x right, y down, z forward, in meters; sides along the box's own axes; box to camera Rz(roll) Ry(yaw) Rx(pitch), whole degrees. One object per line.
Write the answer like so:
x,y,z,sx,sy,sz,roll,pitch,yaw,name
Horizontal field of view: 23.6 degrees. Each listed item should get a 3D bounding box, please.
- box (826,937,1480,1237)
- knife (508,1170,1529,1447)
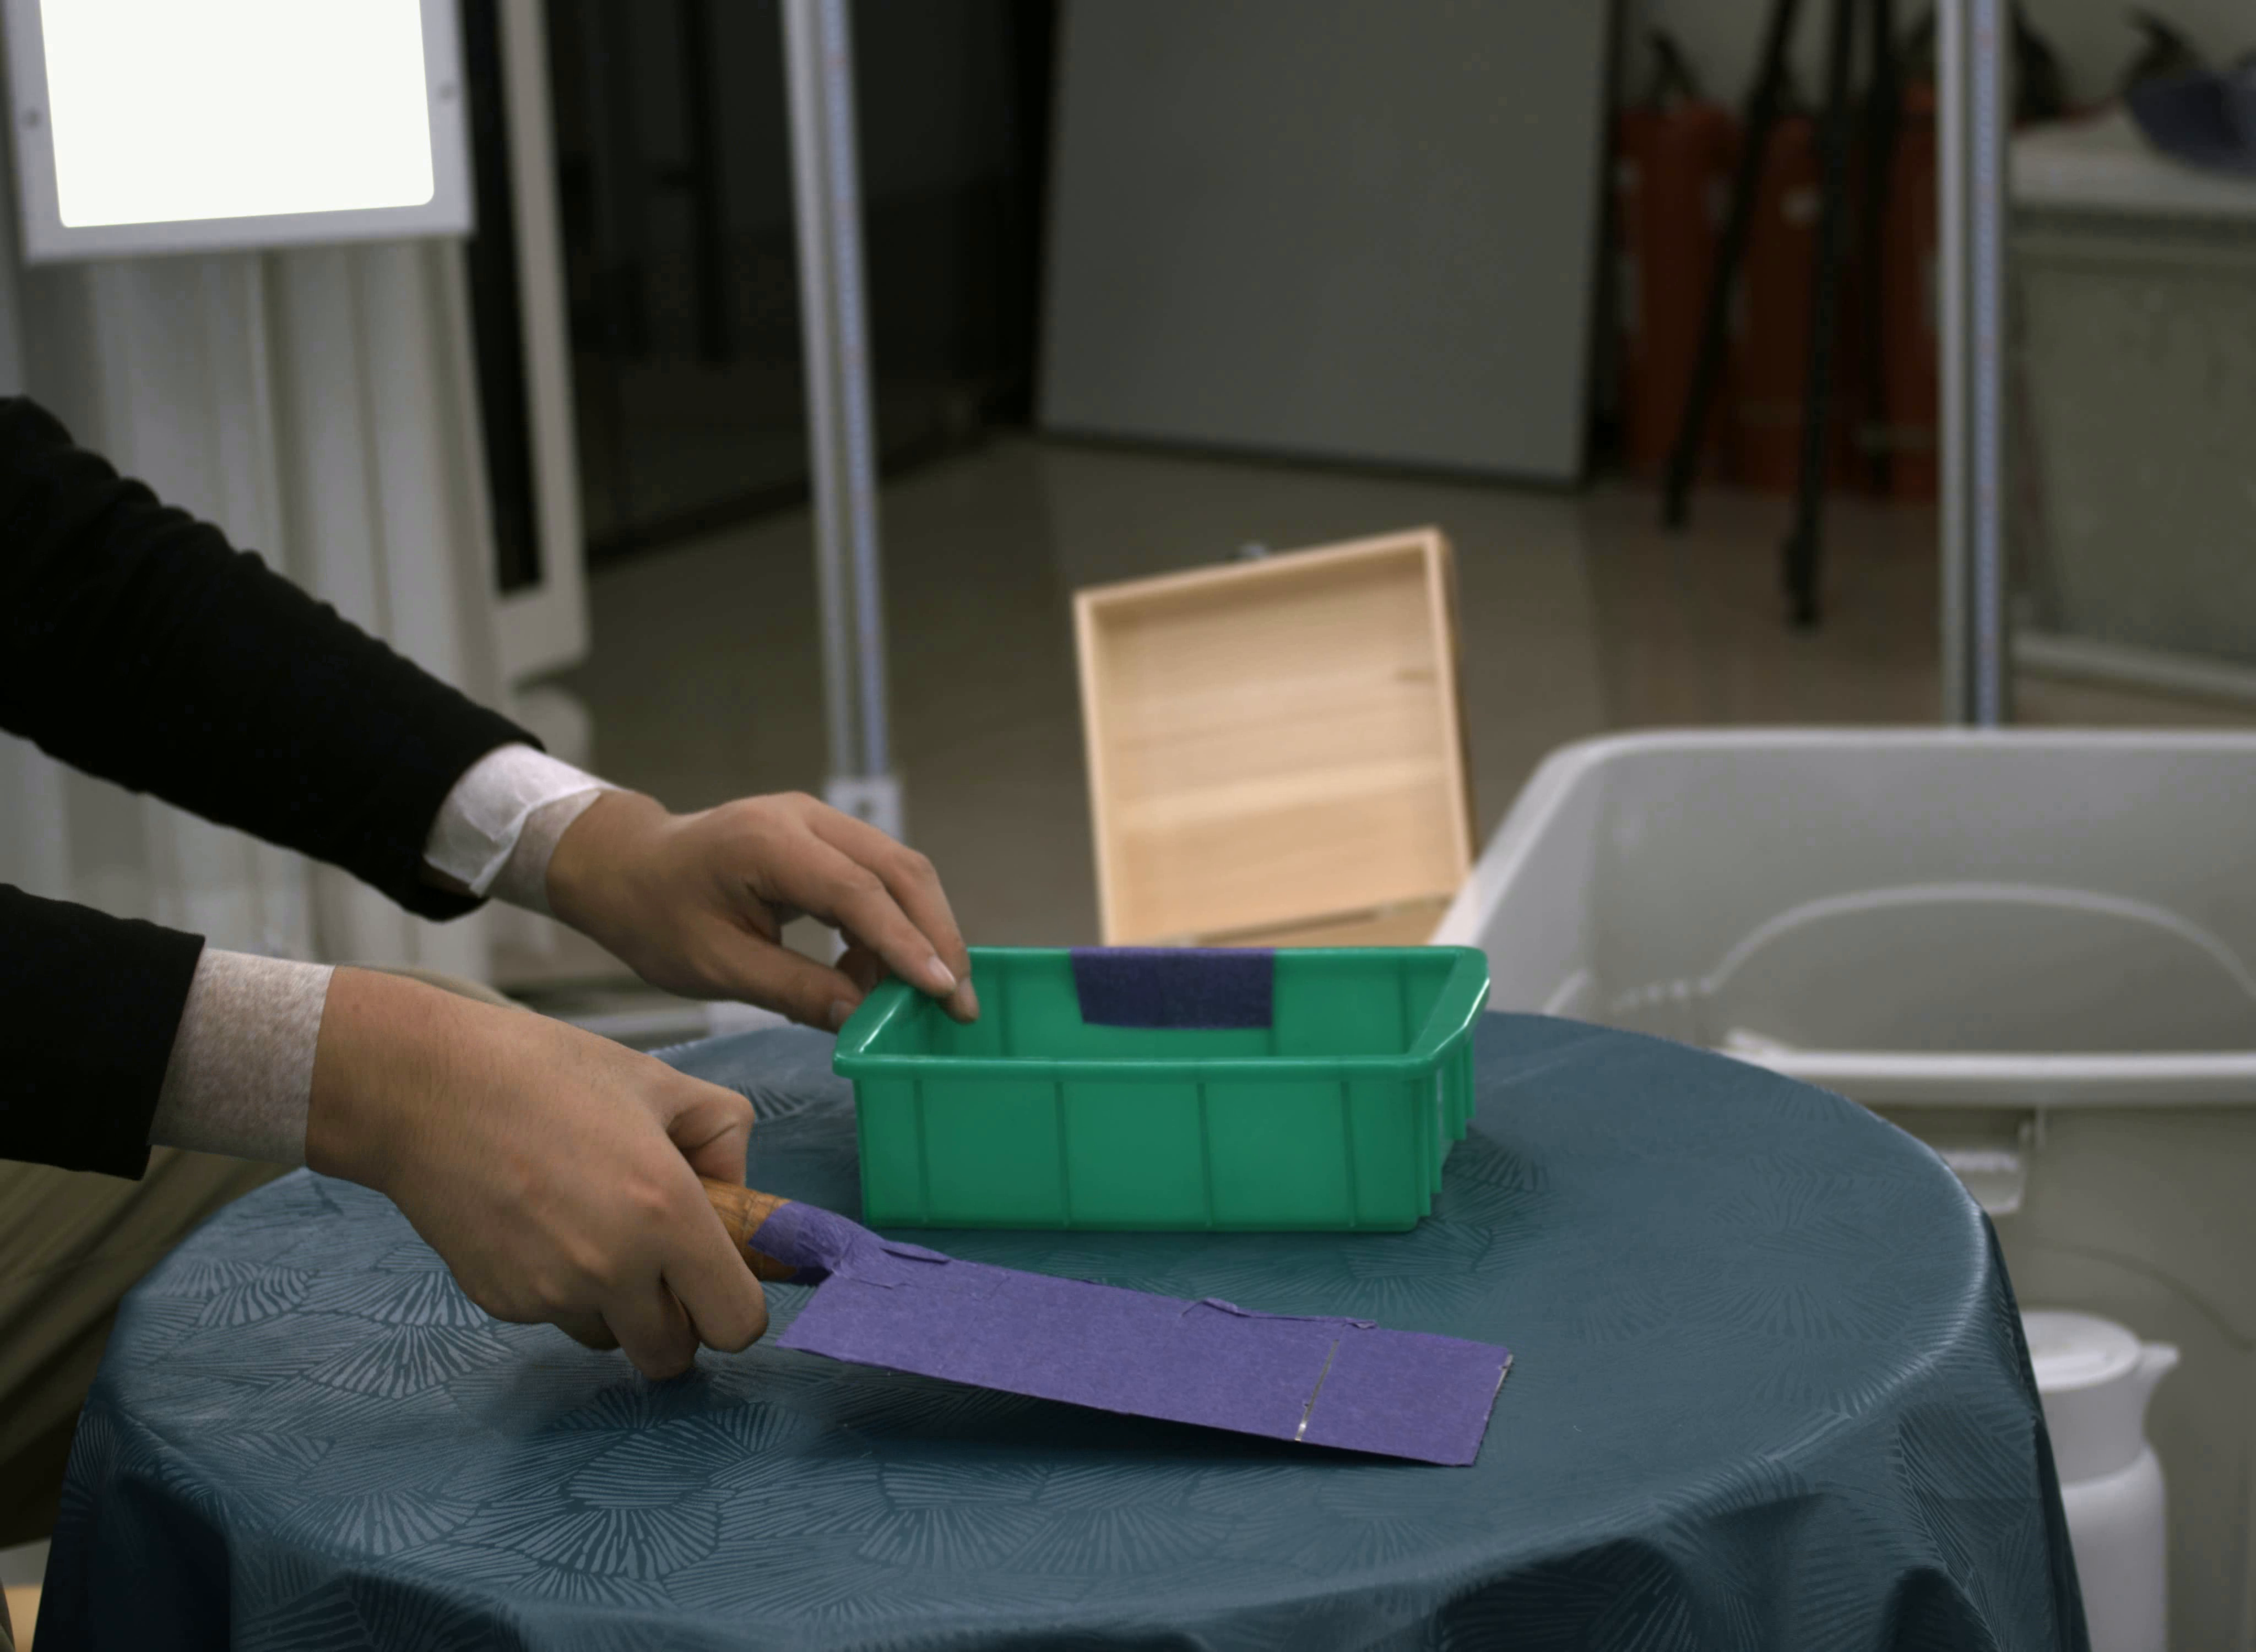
0.012,0.086,1.777,0.209,0.066,0.138,-3,12,13,box
-0.040,0.141,1.581,0.313,0.032,0.103,6,15,13,knife
